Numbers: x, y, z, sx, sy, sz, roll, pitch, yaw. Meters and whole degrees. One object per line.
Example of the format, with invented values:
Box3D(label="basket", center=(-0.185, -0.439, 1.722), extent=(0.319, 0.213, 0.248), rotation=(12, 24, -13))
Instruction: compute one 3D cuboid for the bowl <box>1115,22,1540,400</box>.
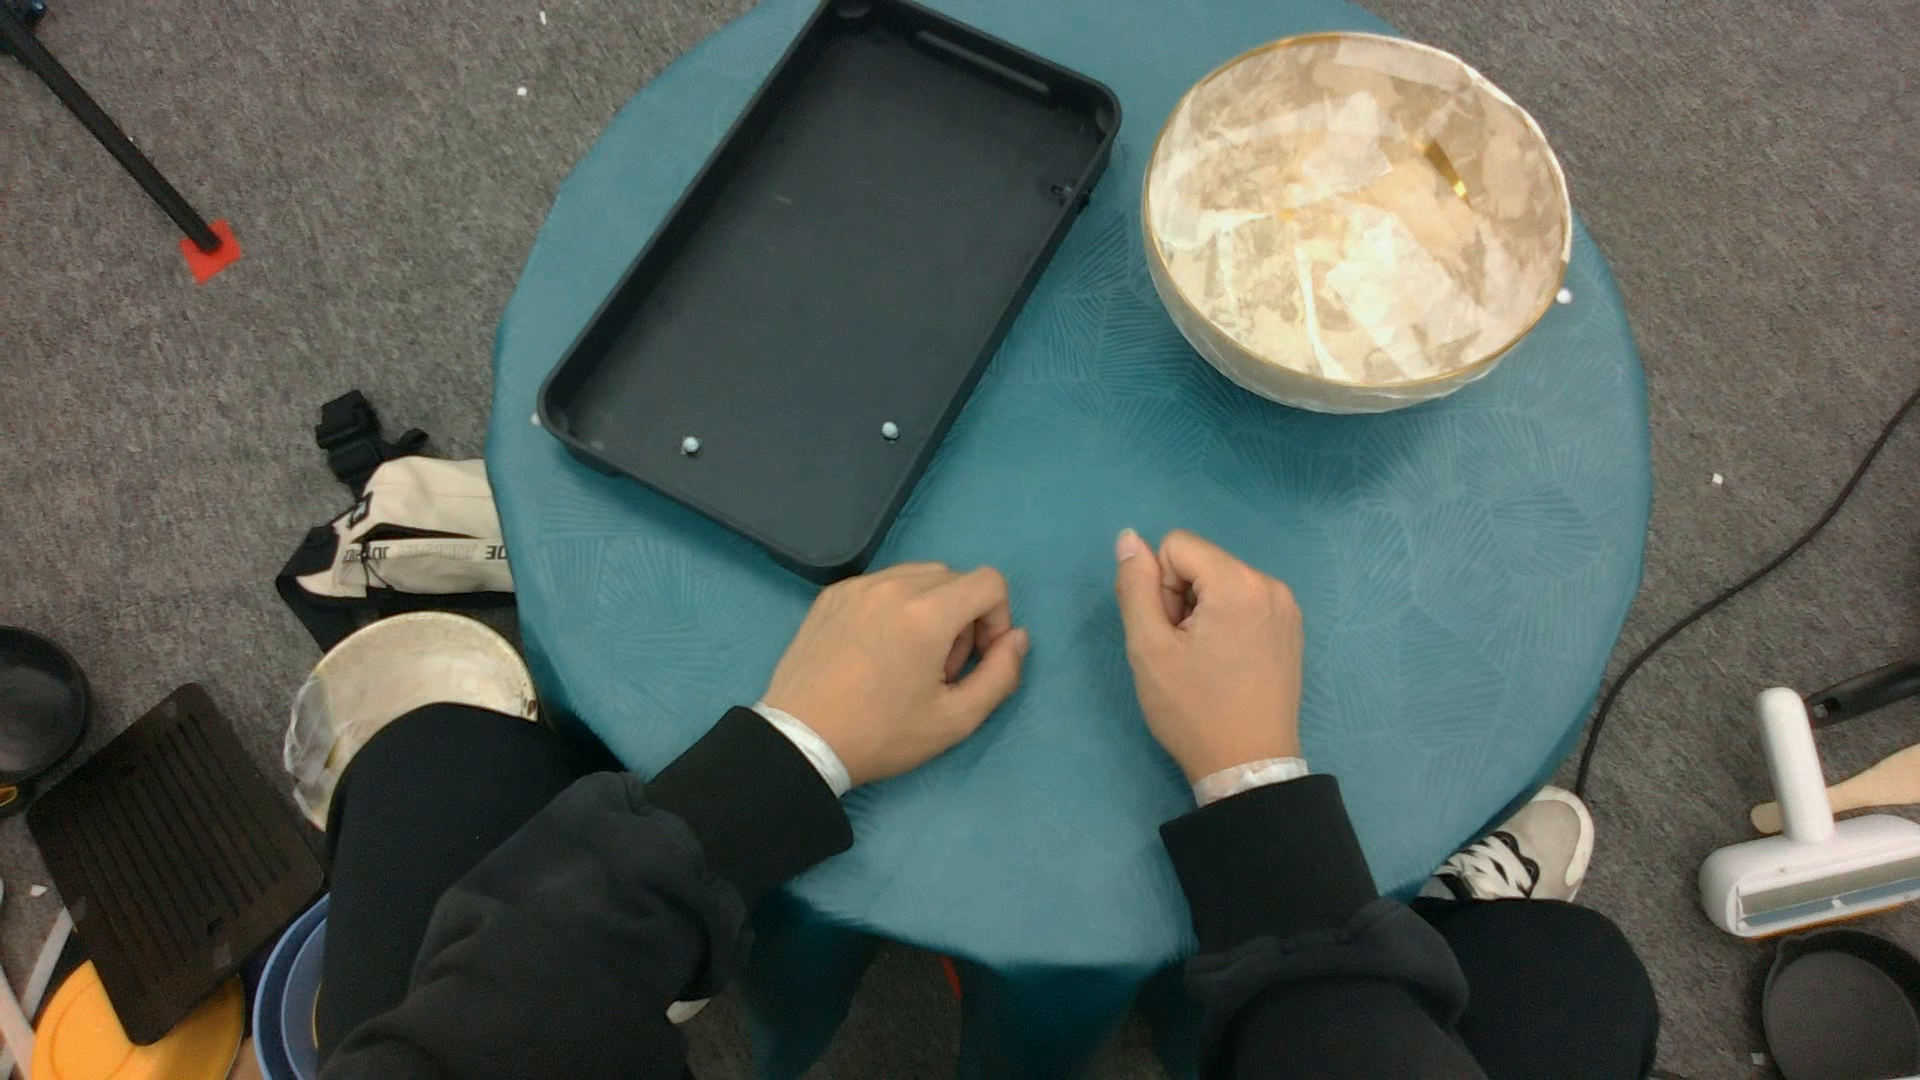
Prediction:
Box3D(label="bowl", center=(0.172, -0.151, 0.698), extent=(0.215, 0.094, 0.215), rotation=(1, 69, -2))

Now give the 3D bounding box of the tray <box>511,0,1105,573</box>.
Box3D(label="tray", center=(-0.071, -0.148, 0.724), extent=(0.184, 0.037, 0.319), rotation=(28, 69, 10))
